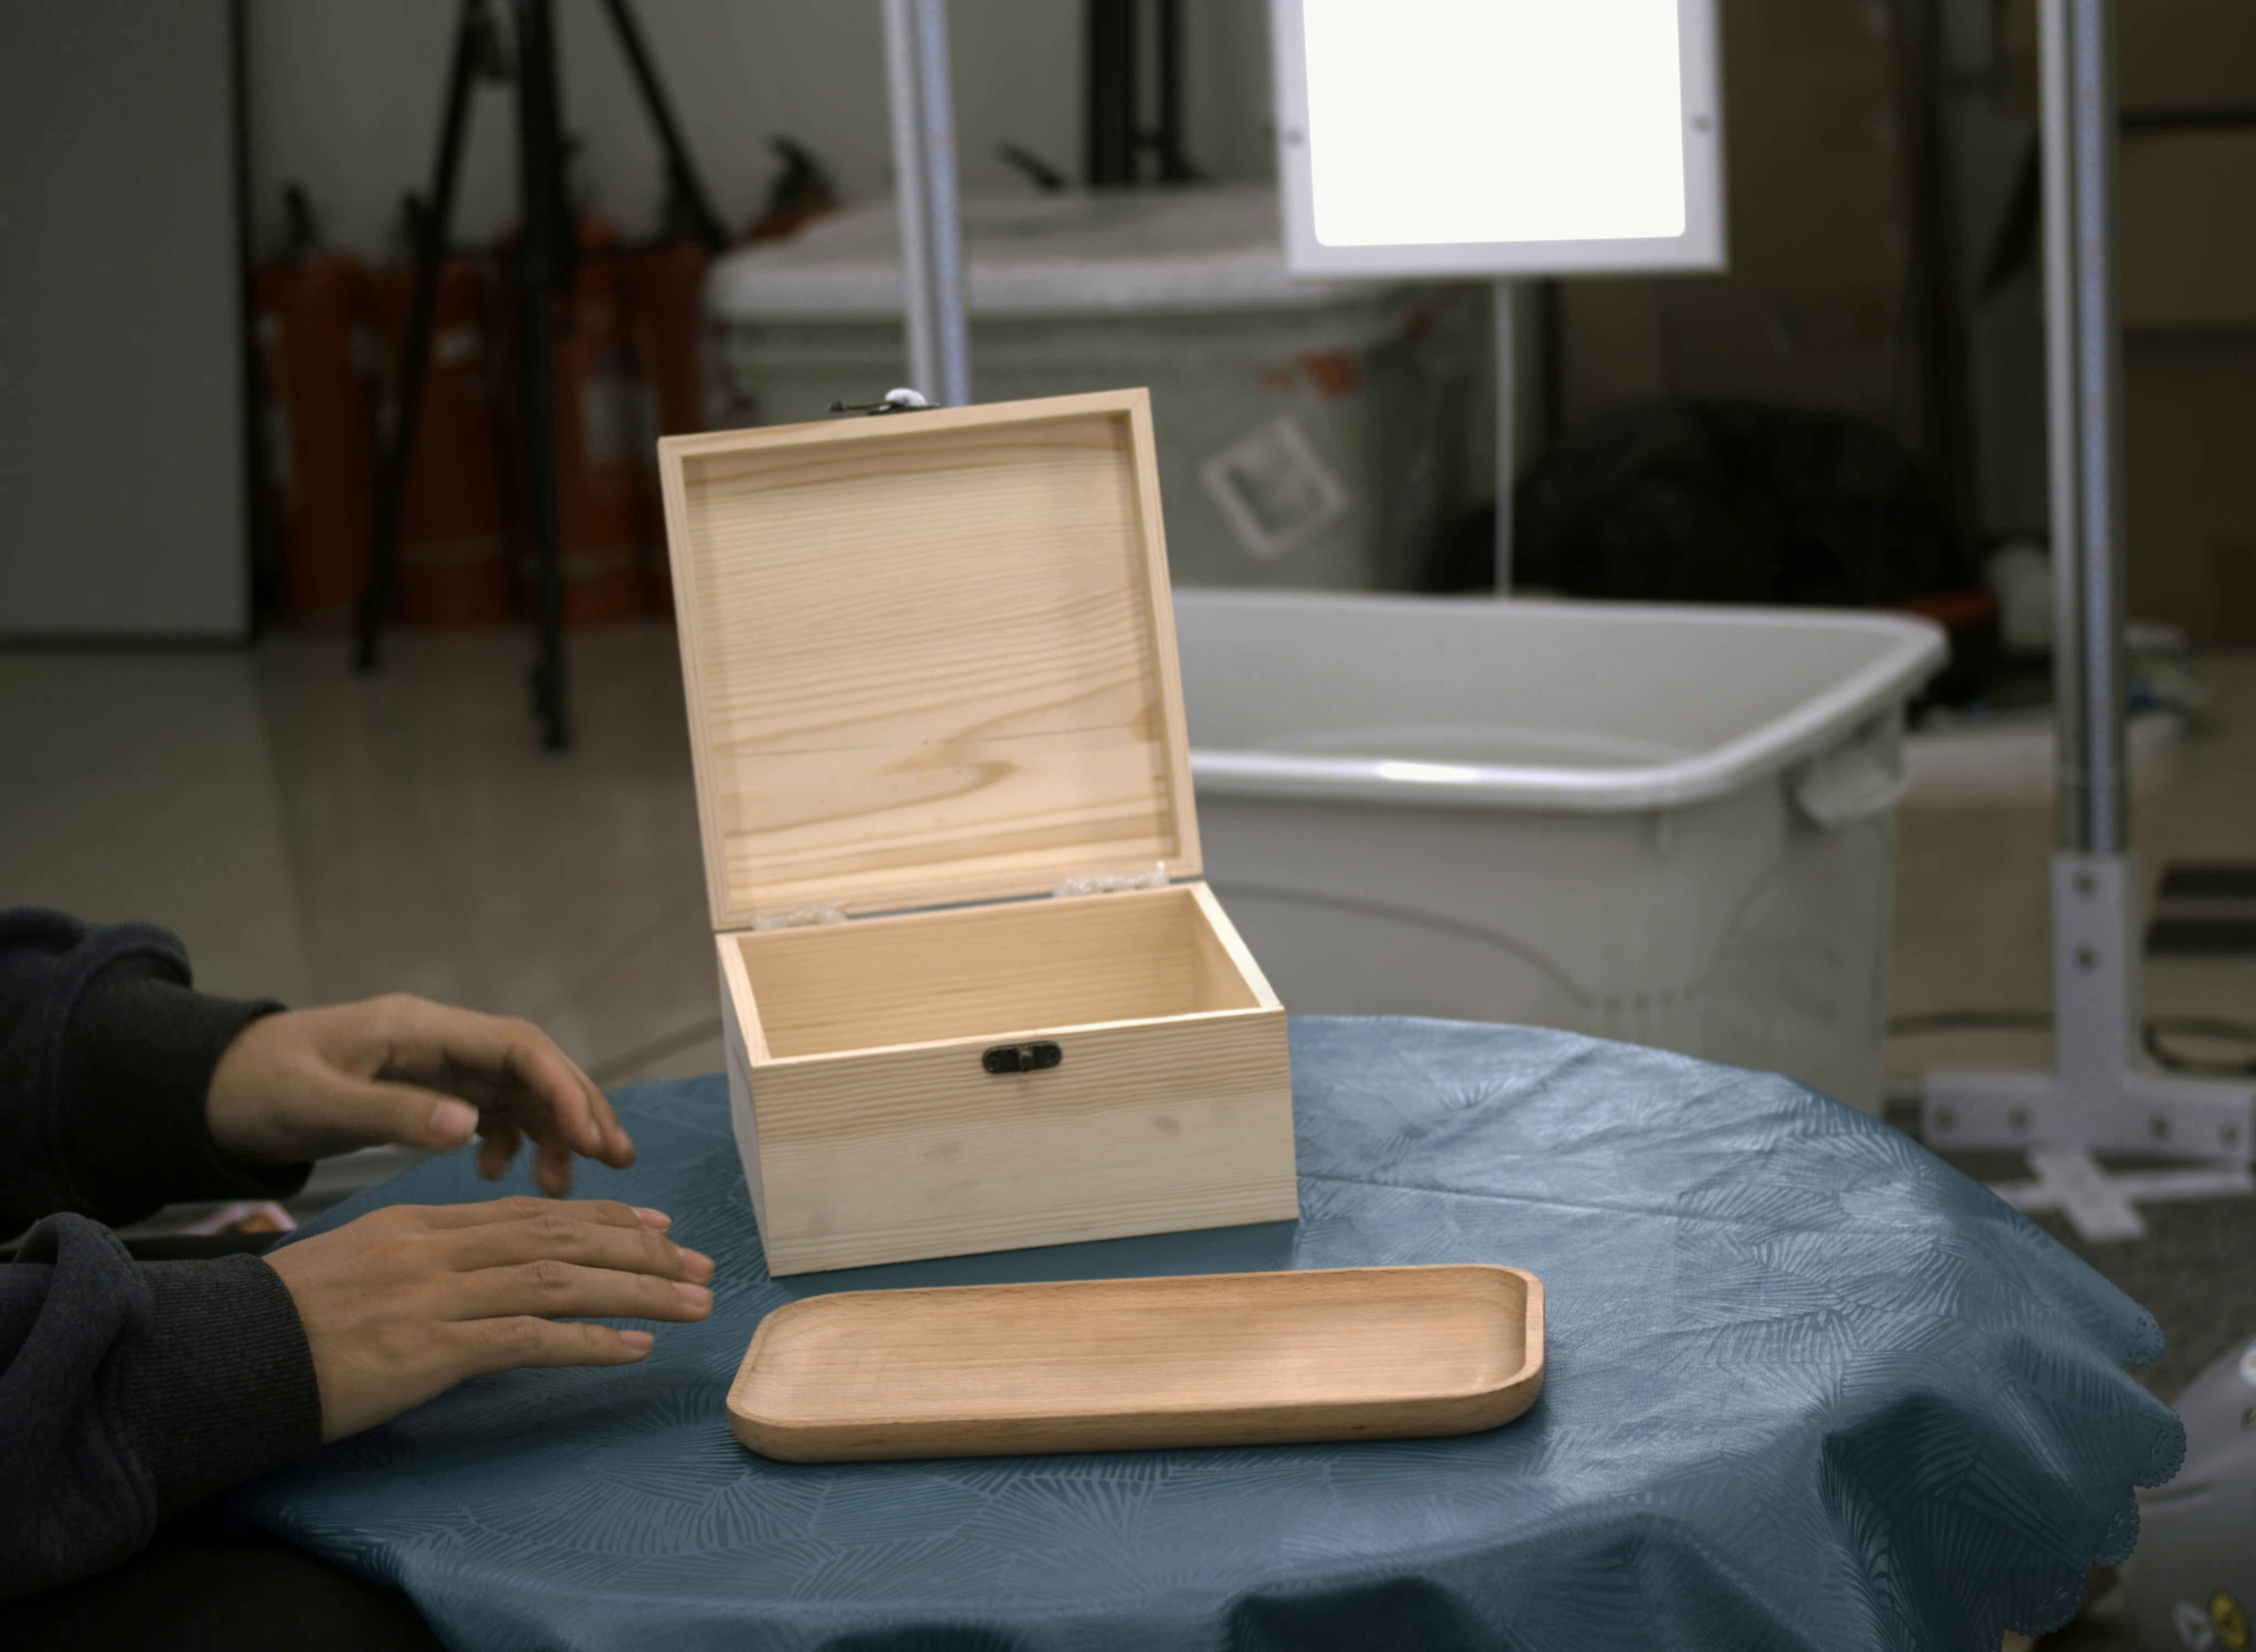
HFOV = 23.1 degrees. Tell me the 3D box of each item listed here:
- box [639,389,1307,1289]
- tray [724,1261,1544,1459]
[{"bbox_3d":[-0.059,-0.004,1.937,0.180,0.254,0.266,-9,13,-6],"label":"box"},{"bbox_3d":[0.004,0.165,1.701,0.252,0.023,0.129,-4,11,8],"label":"tray"}]
